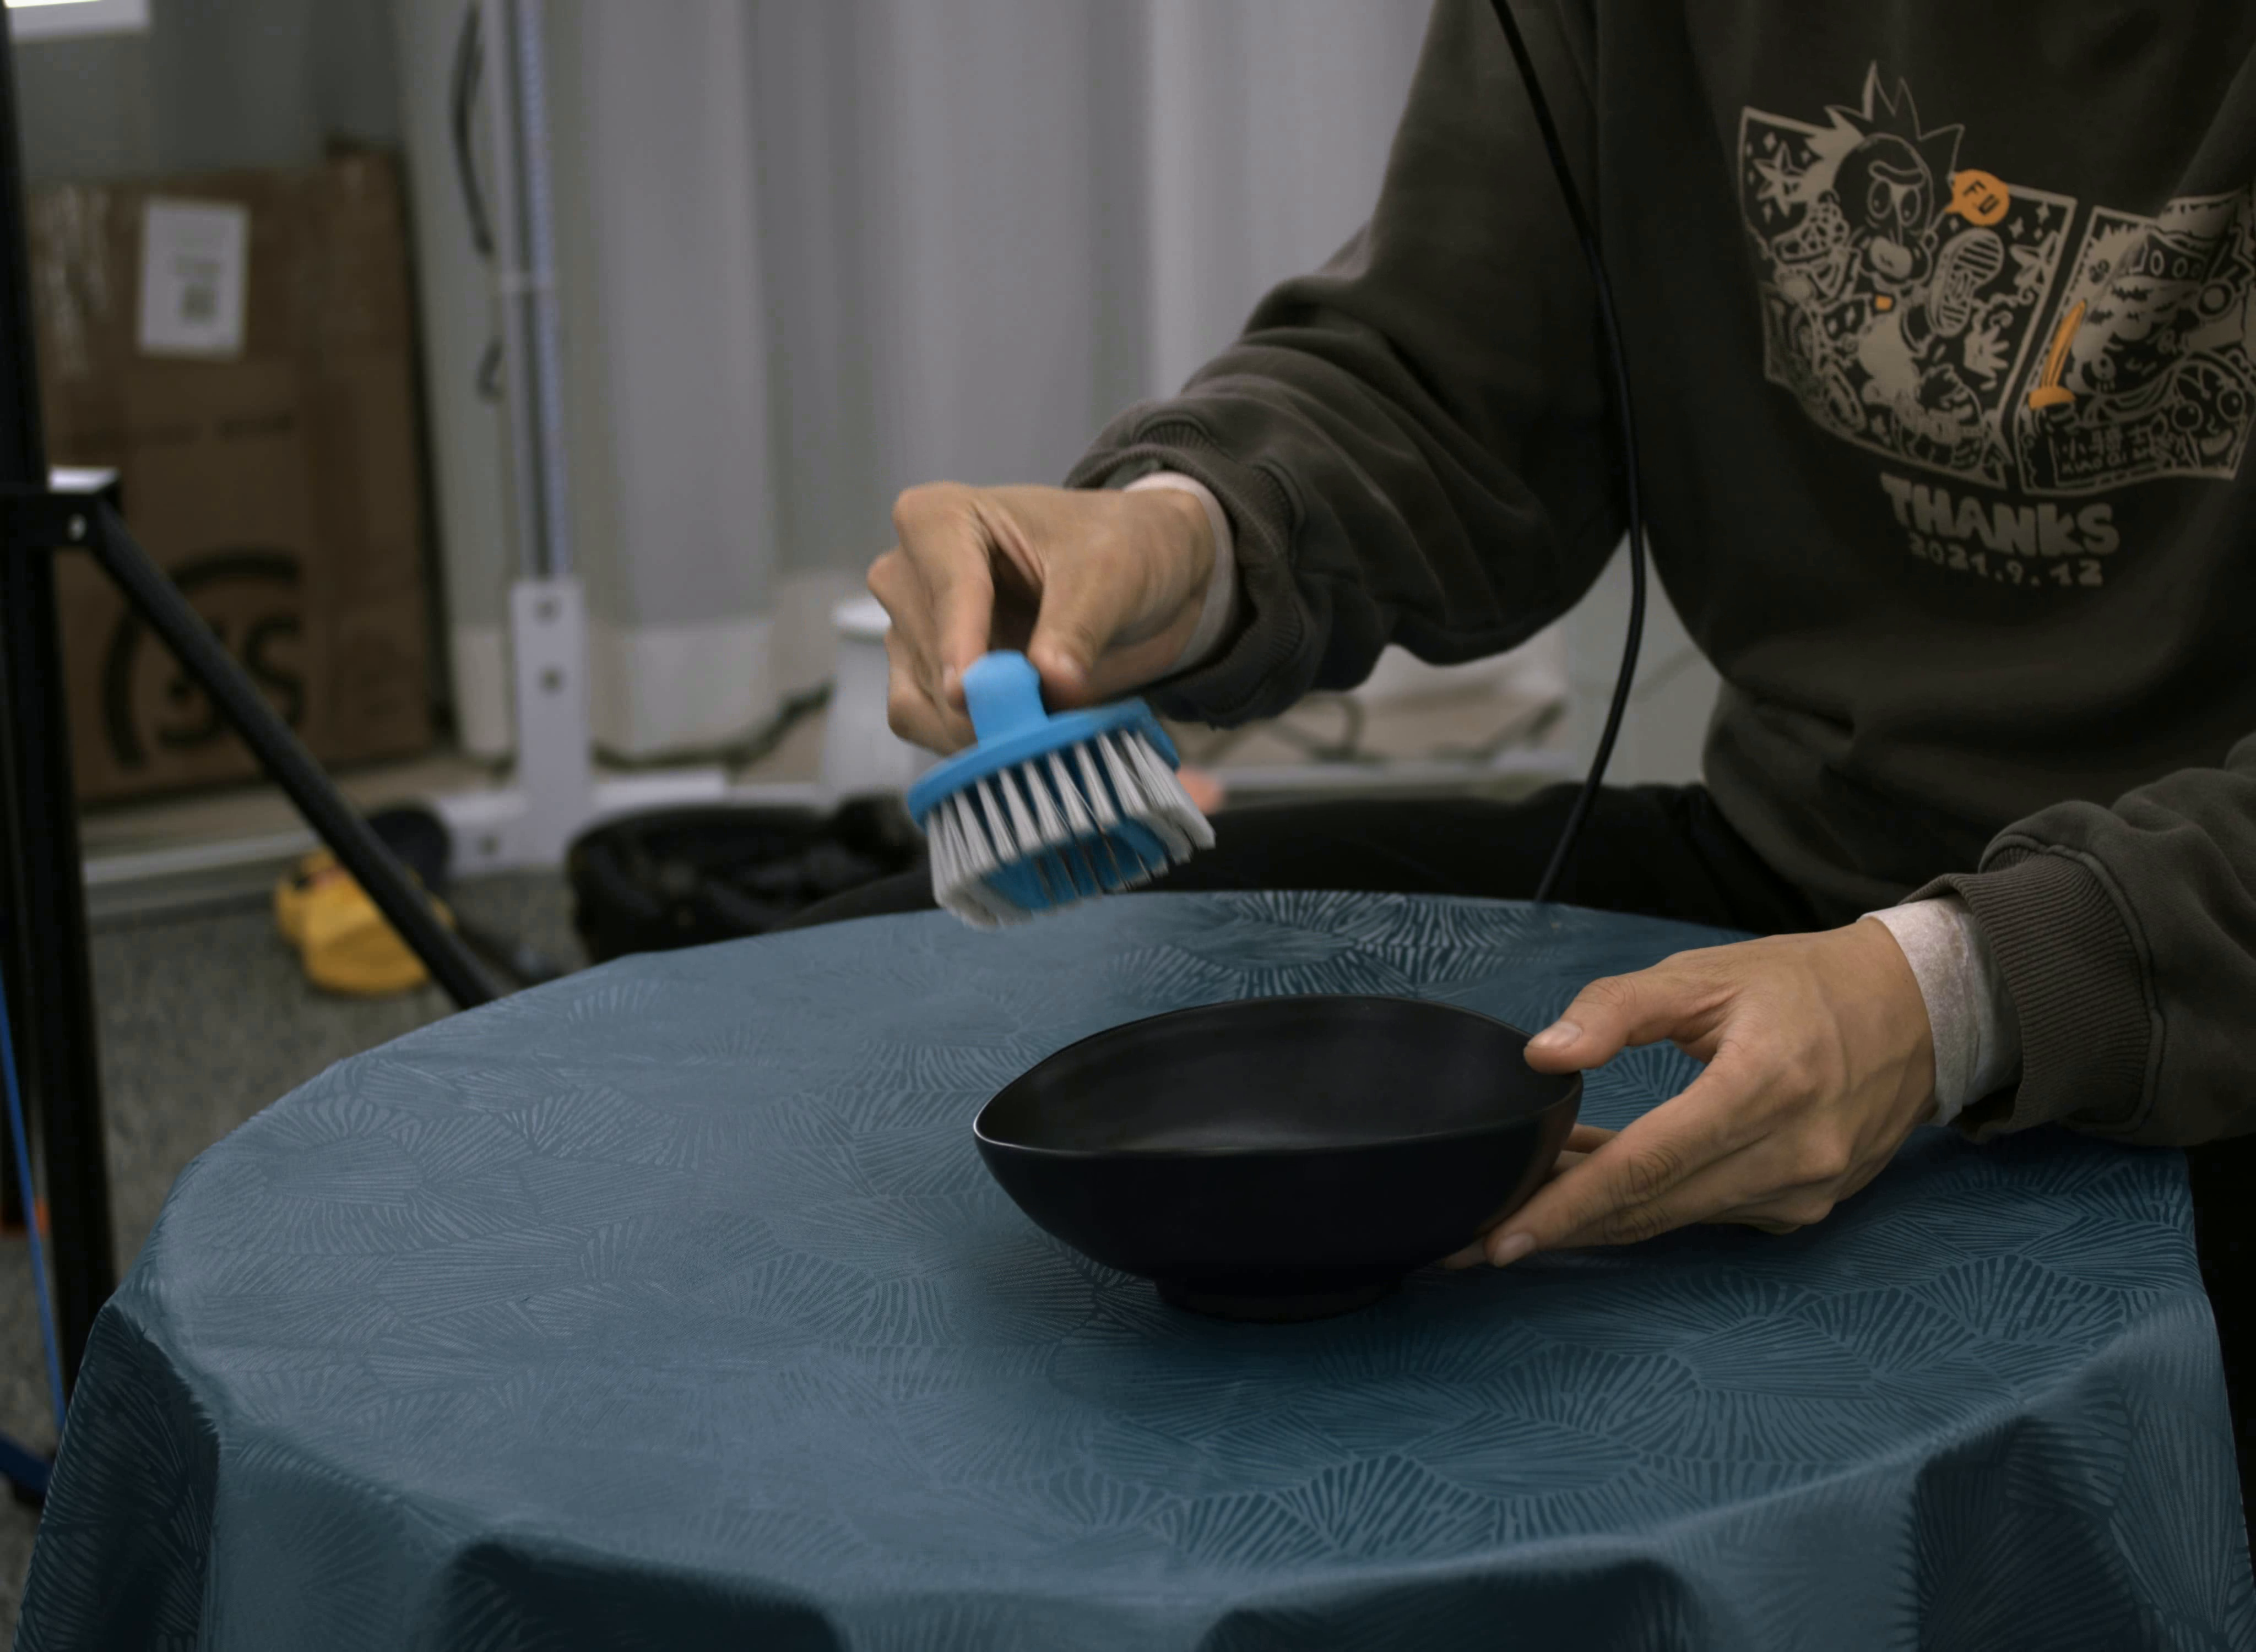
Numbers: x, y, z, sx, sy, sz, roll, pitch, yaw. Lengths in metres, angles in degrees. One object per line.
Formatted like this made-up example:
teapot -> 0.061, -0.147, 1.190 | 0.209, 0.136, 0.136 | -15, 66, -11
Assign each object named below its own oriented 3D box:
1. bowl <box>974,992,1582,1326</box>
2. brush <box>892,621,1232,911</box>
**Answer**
bowl -> 0.043, 0.098, 1.476 | 0.170, 0.066, 0.137 | -4, 15, 3
brush -> -0.024, -0.023, 1.529 | 0.084, 0.064, 0.140 | -25, -12, 7
